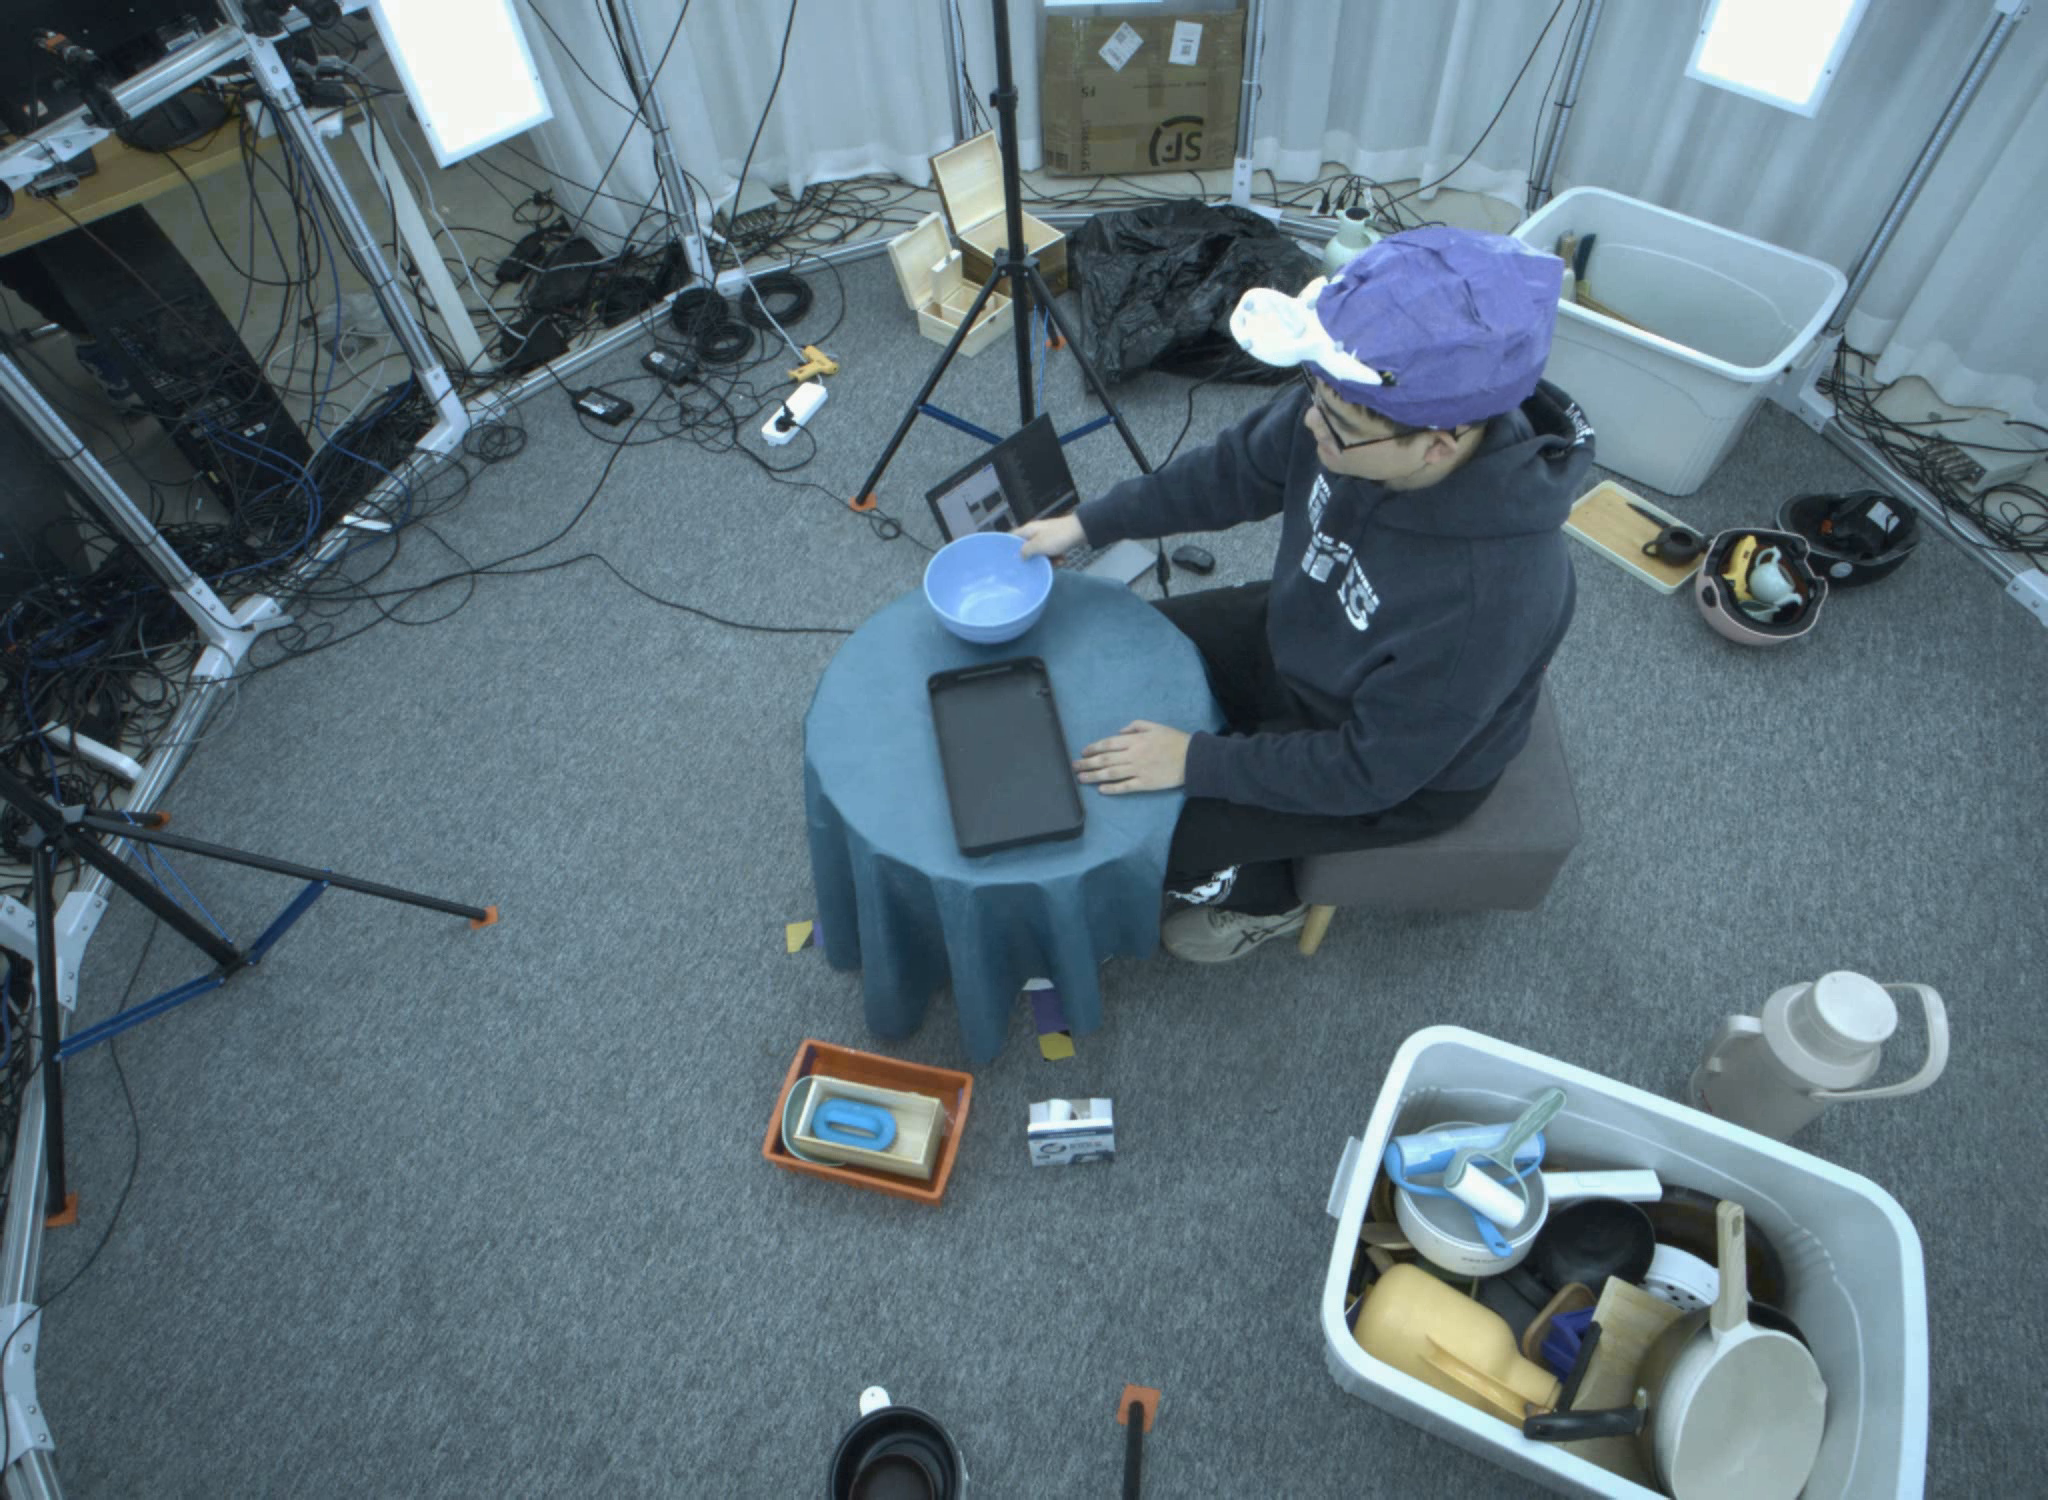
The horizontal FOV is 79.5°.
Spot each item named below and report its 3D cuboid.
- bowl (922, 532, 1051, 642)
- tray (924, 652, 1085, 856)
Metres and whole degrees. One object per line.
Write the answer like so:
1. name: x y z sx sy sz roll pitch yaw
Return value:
1. bowl: -0.055 -0.237 1.897 0.196 0.096 0.194 -1 53 2
2. tray: -0.032 0.000 1.765 0.185 0.037 0.313 -10 55 -6
